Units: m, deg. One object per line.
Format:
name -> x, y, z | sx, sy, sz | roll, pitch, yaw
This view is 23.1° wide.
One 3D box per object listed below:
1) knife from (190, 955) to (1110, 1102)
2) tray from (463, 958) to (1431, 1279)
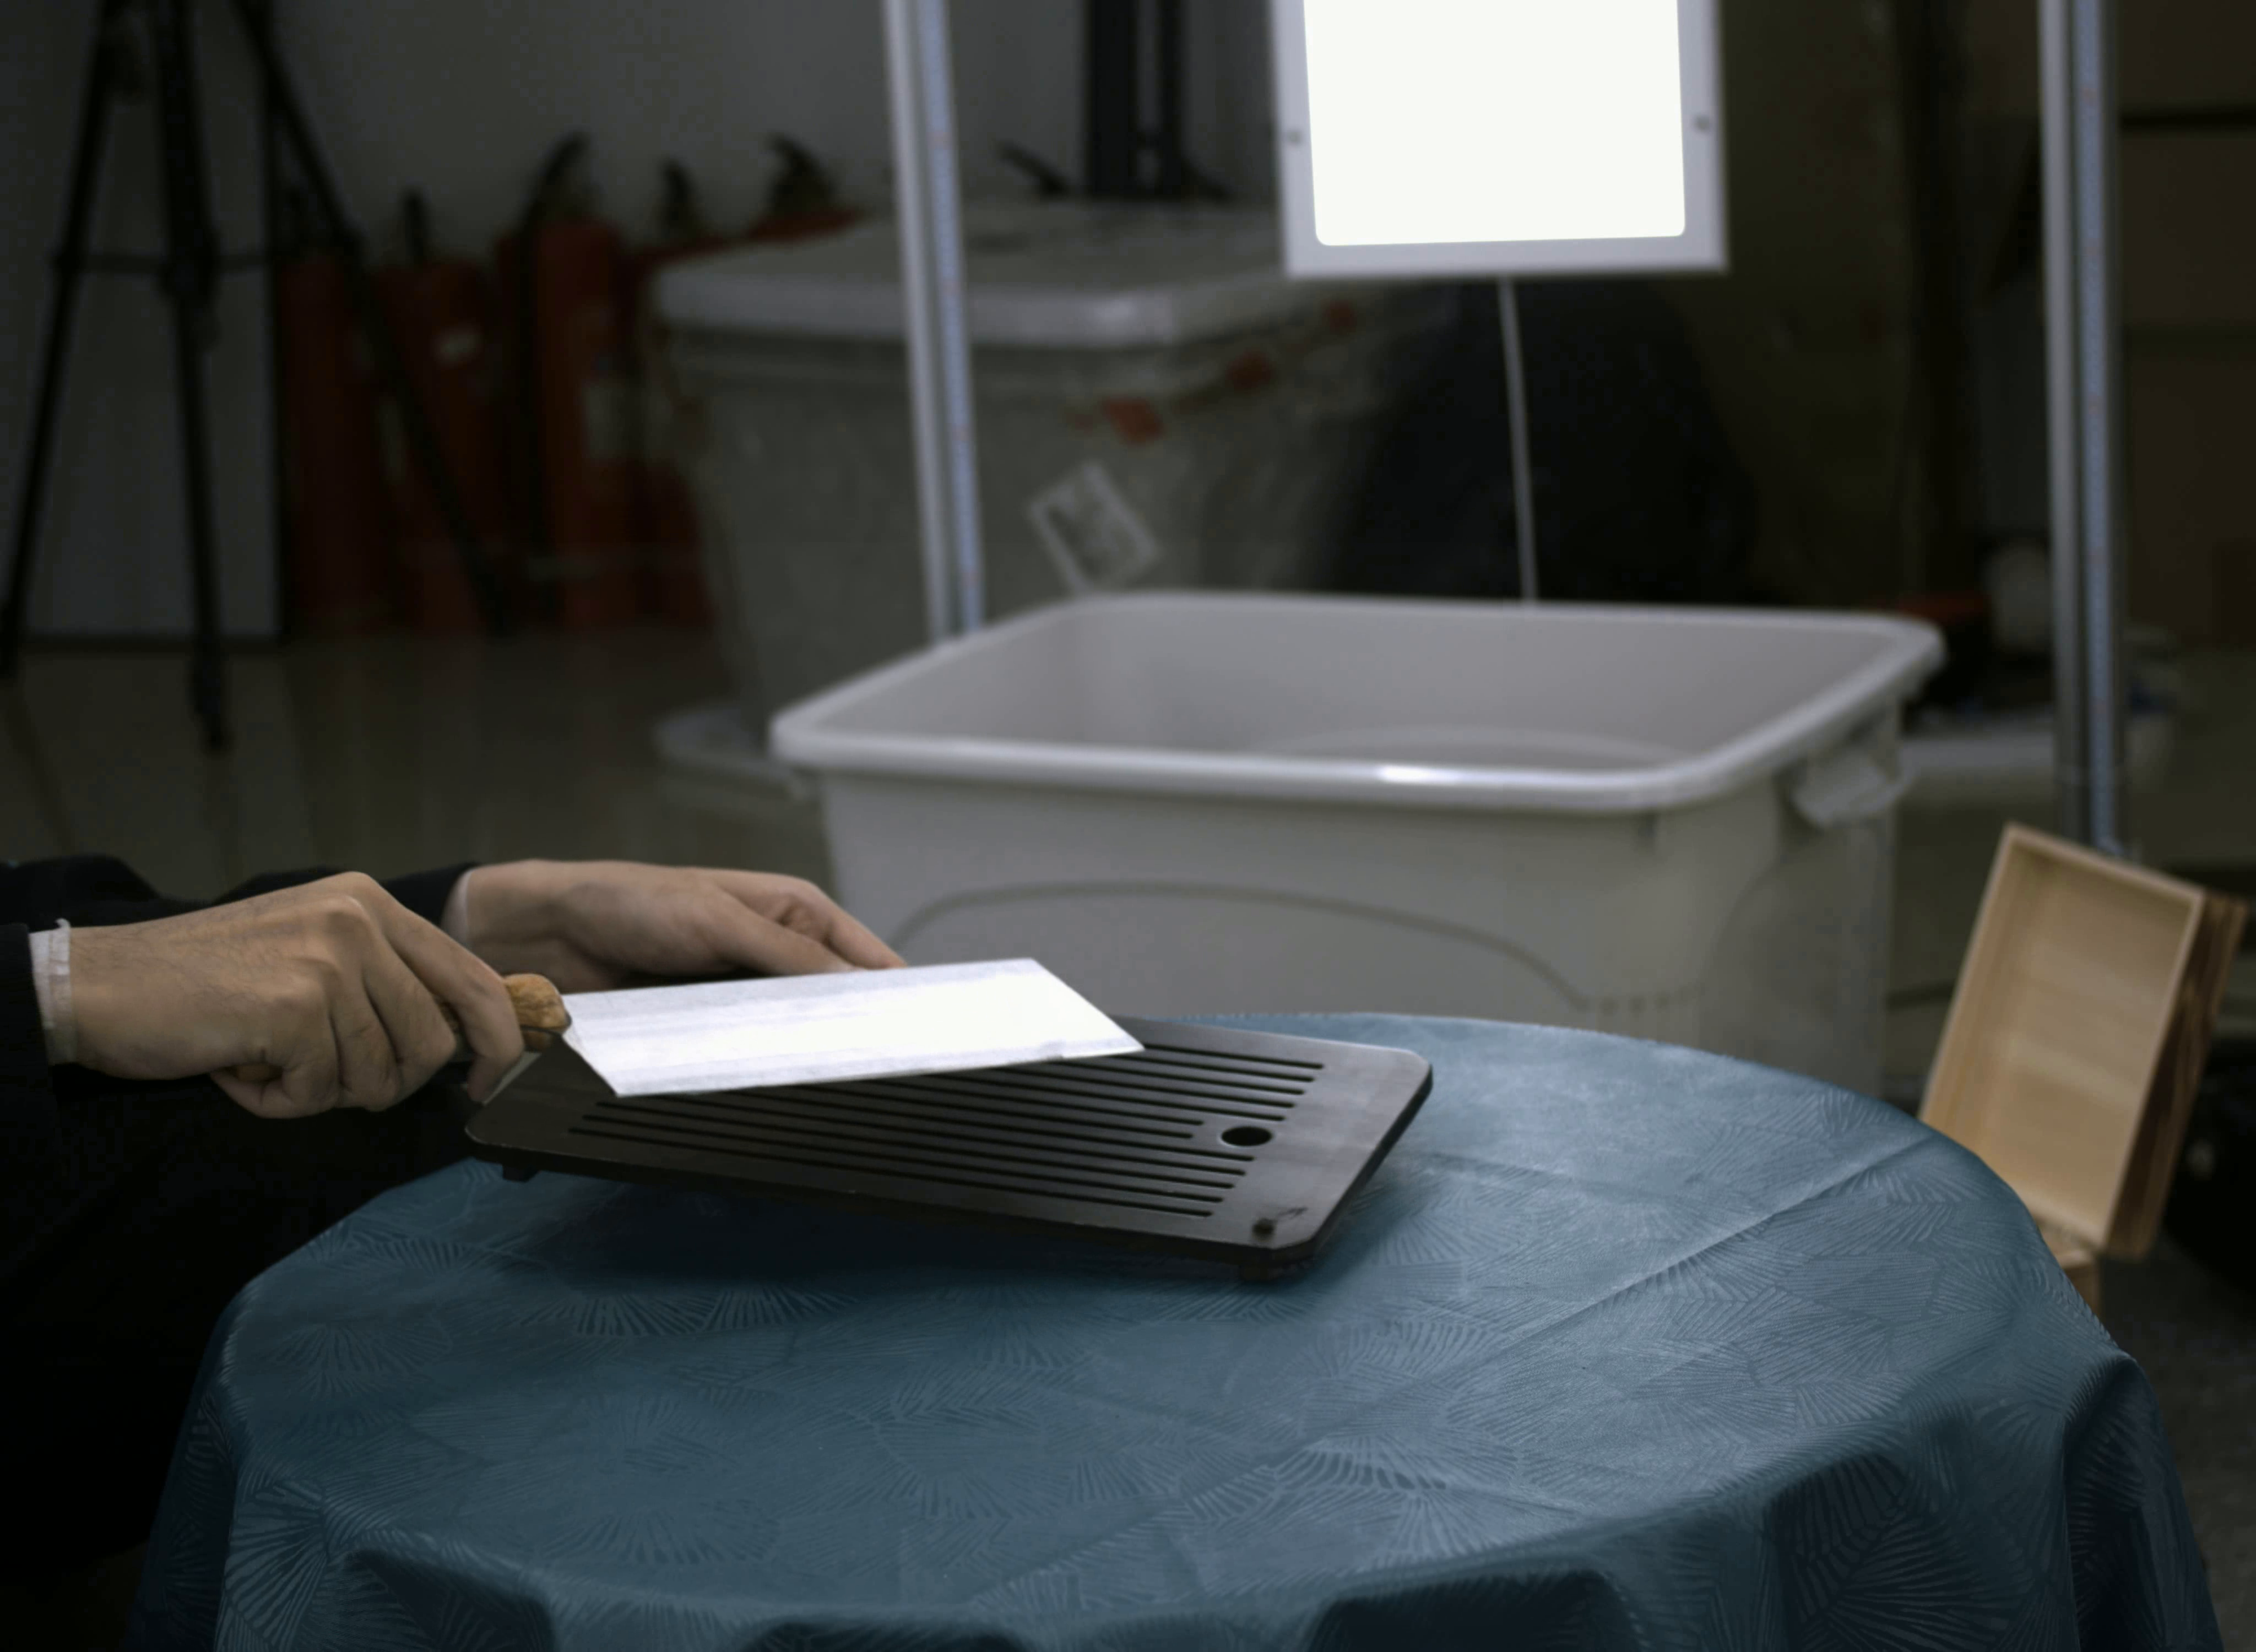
knife -> -0.150, 0.068, 1.811 | 0.299, 0.021, 0.094 | -4, 20, -25
tray -> -0.061, 0.099, 1.906 | 0.310, 0.019, 0.167 | 6, 22, 20
